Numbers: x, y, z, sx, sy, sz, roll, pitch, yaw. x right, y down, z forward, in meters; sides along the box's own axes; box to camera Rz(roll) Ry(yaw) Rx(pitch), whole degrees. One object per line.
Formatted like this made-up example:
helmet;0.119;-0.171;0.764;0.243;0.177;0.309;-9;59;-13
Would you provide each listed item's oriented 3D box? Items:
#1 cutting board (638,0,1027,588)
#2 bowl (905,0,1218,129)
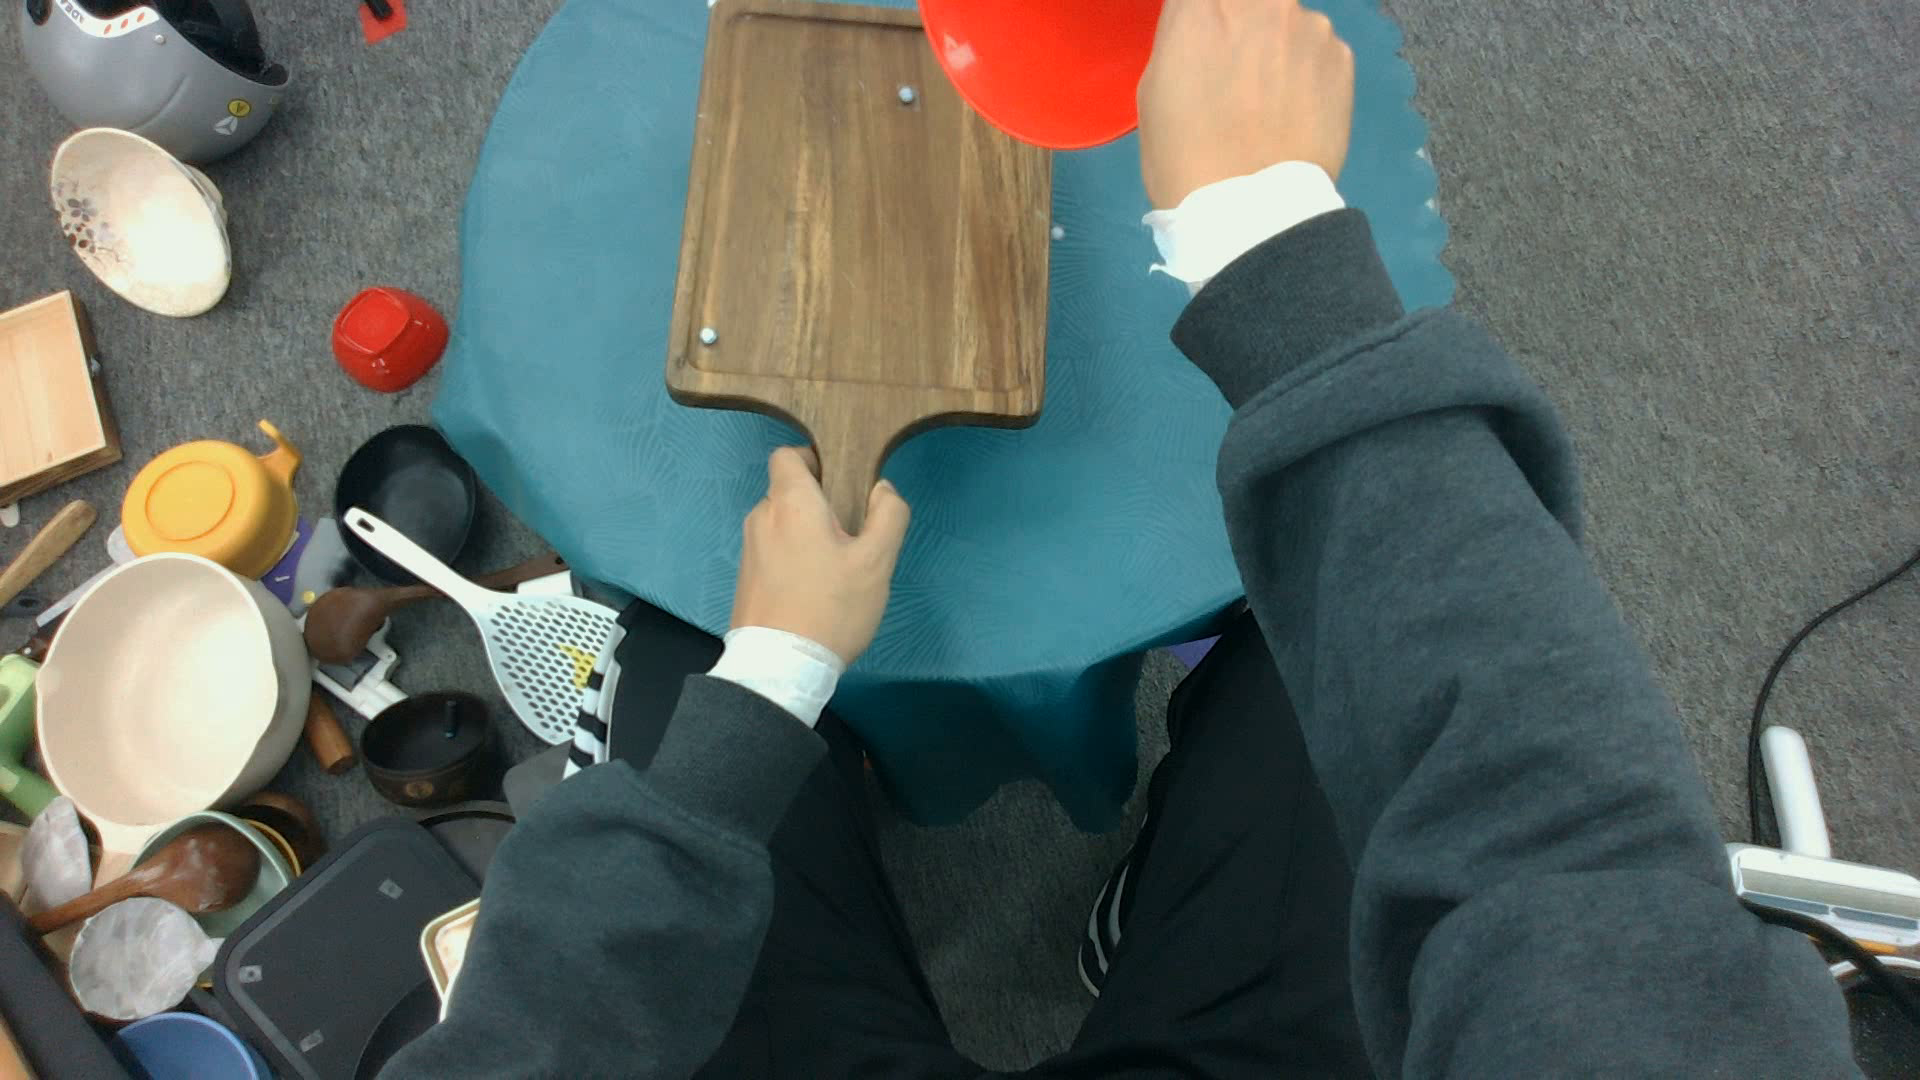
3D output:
cutting board;-0.065;-0.145;0.732;0.201;0.023;0.353;3;70;-4
bowl;0.059;-0.263;0.599;0.105;0.147;0.148;-30;70;-38
